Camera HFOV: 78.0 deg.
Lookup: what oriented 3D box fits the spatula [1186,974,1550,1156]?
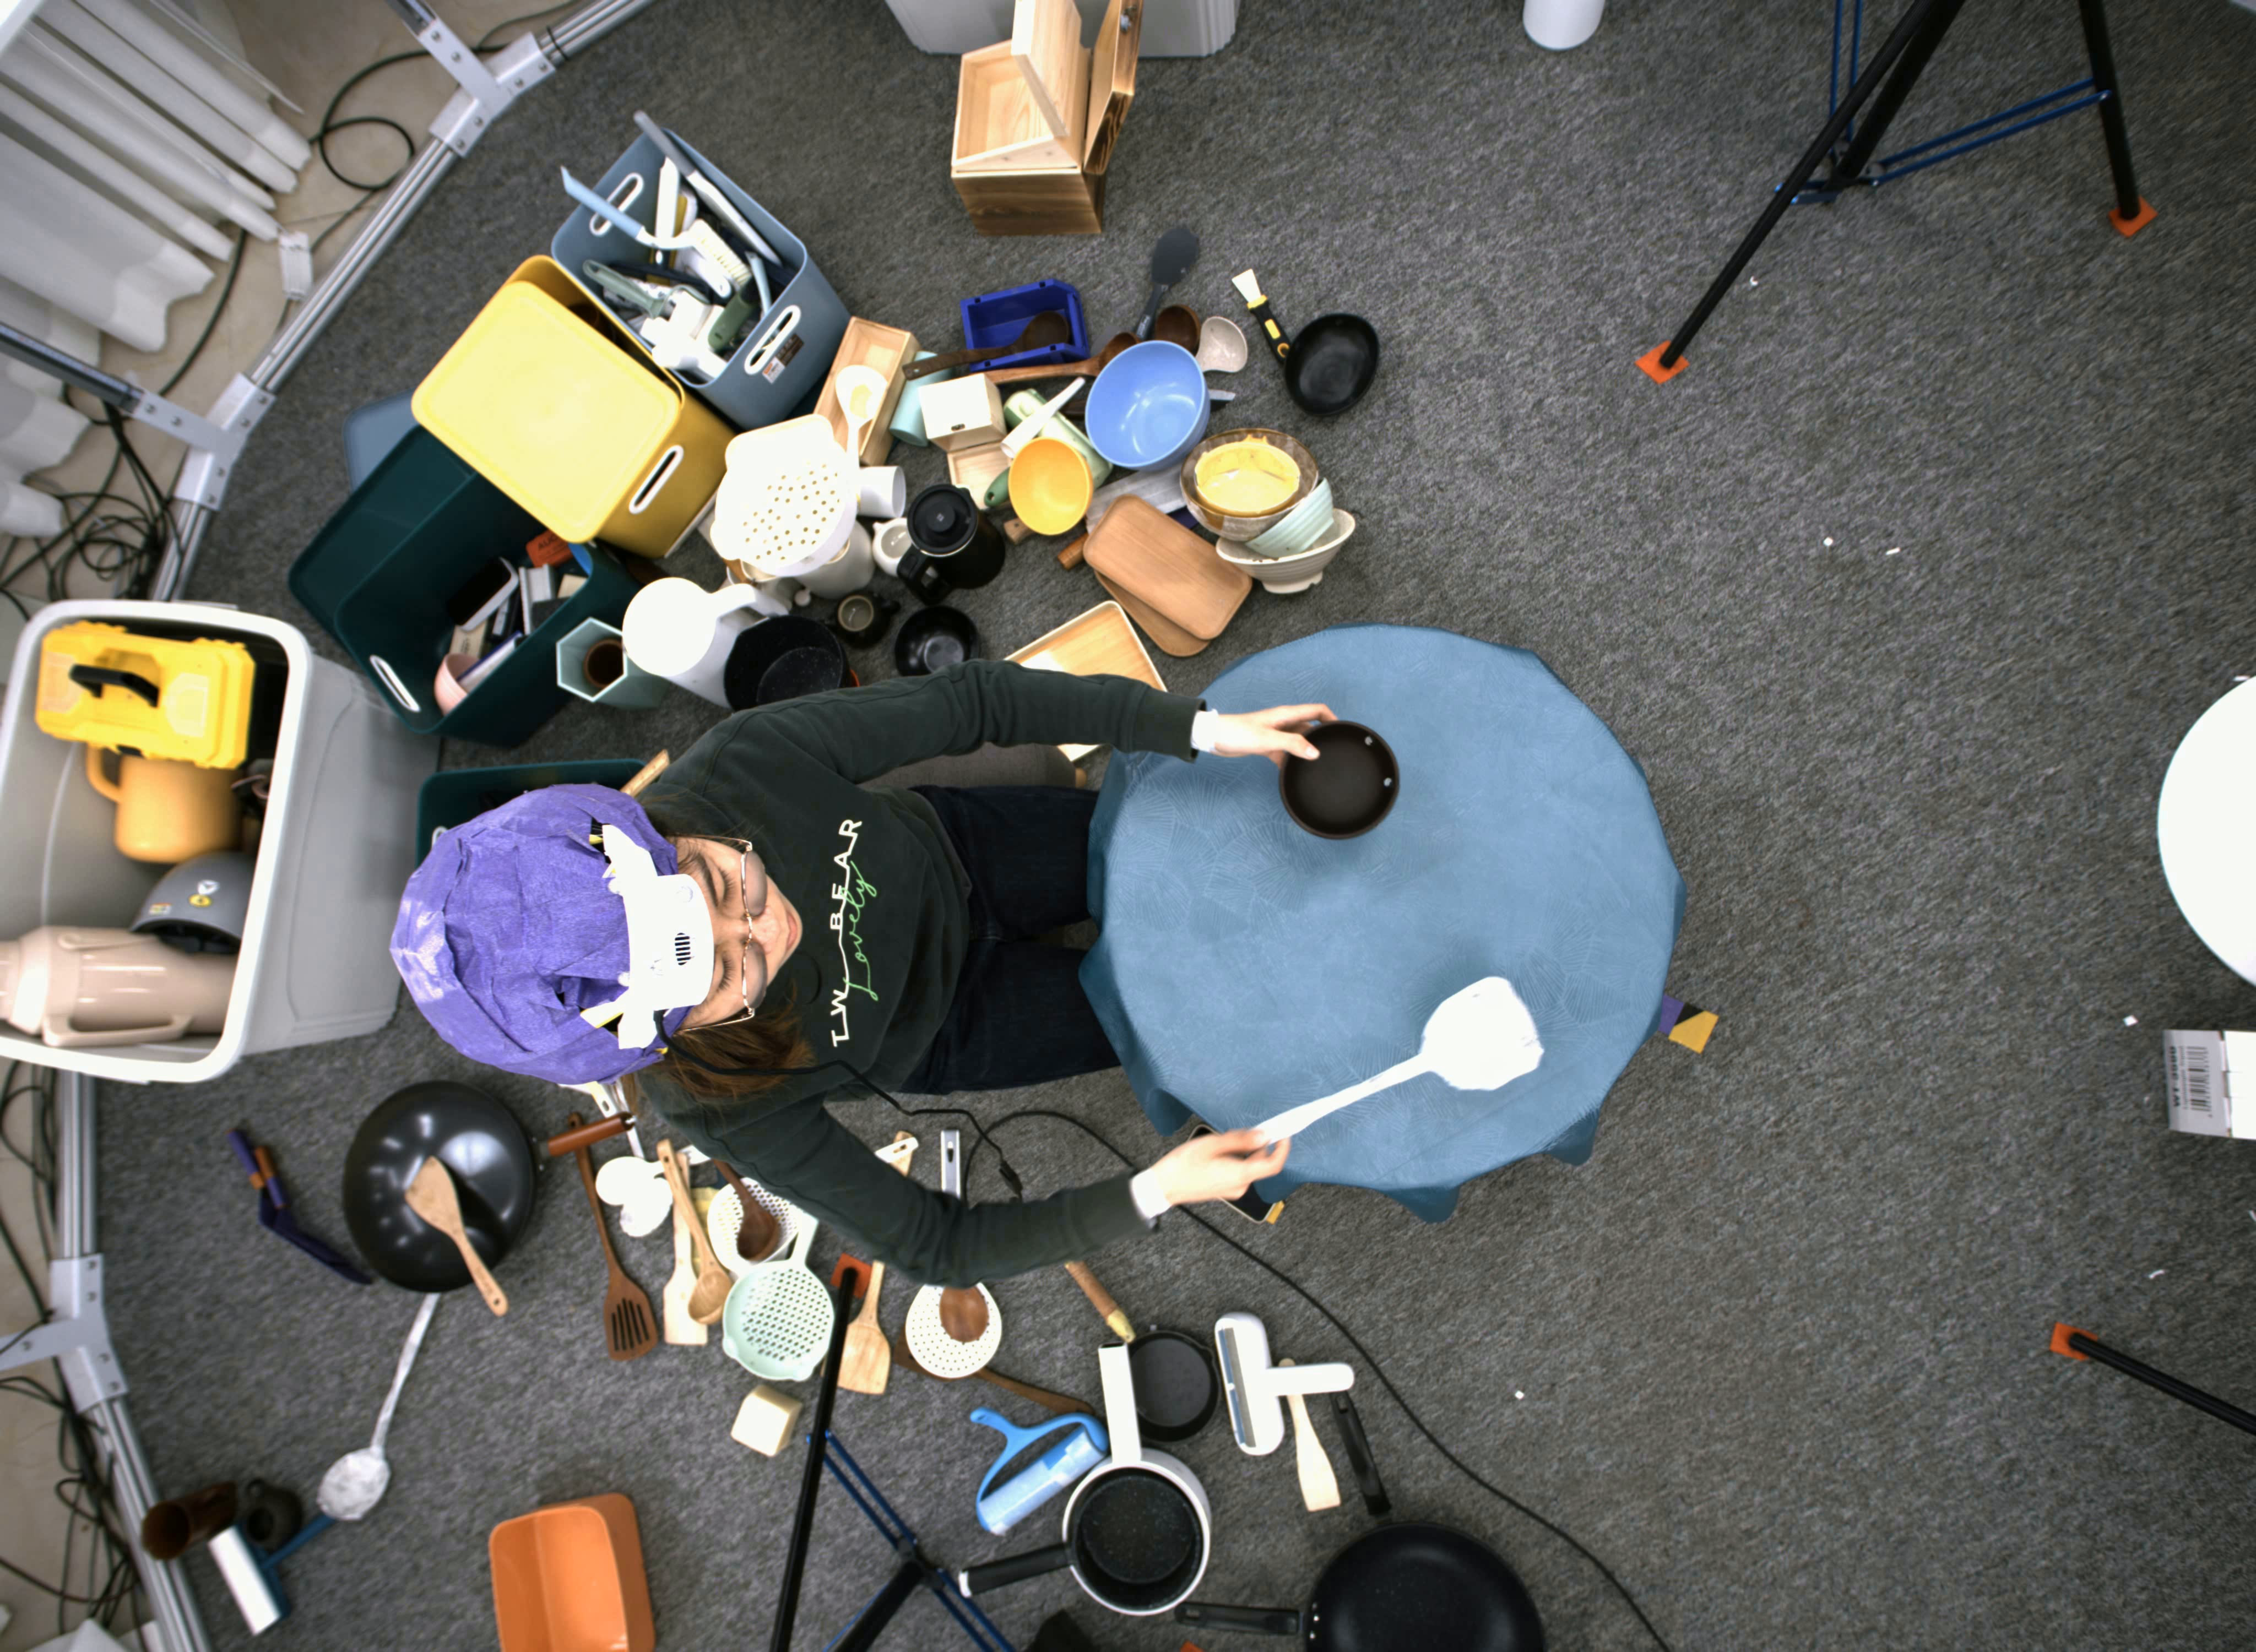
[{"bbox_3d":[0.228,0.248,1.336,0.365,0.045,0.098,-22,80,-1],"label":"spatula"}]

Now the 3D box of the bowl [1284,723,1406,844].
[{"bbox_3d":[0.213,-0.041,1.359,0.118,0.070,0.118,0,89,9],"label":"bowl"}]
